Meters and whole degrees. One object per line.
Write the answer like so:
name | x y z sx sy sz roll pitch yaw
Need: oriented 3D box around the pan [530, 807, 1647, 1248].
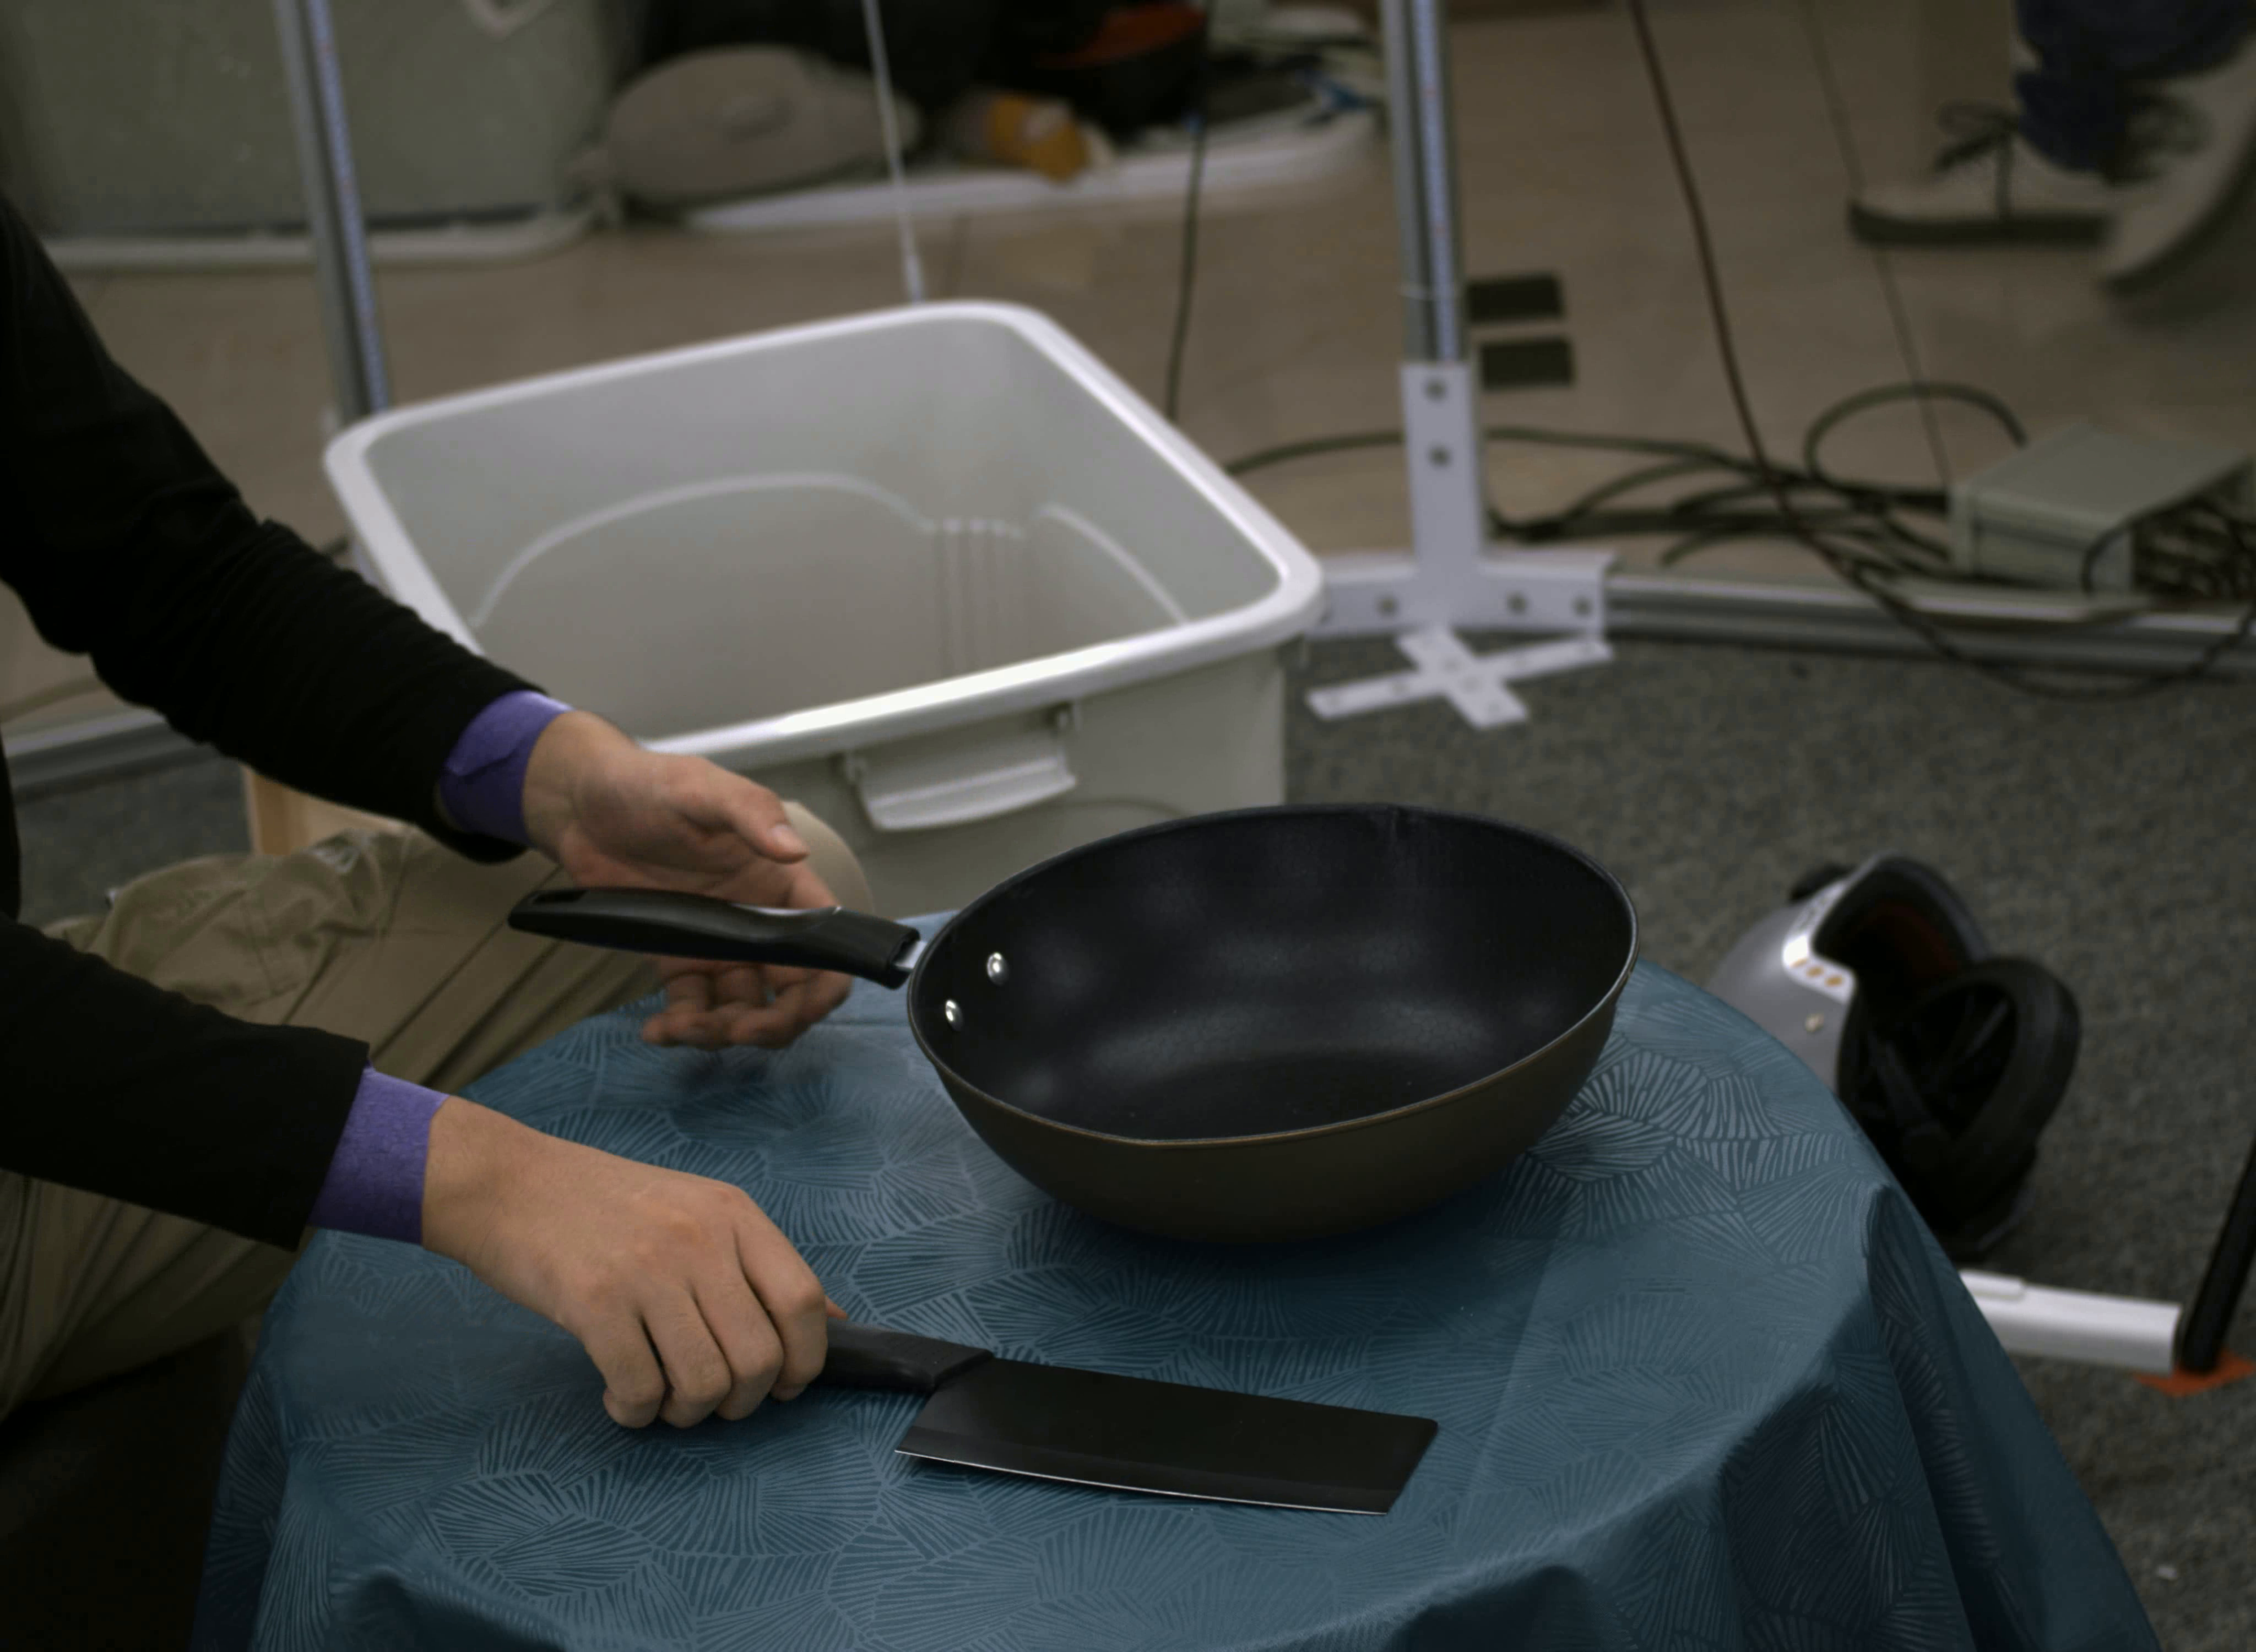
pan | -0.023 0.079 2.186 0.462 0.088 0.284 4 27 23

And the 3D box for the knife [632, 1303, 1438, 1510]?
knife | -0.039 0.204 2.004 0.301 0.021 0.080 8 29 25
